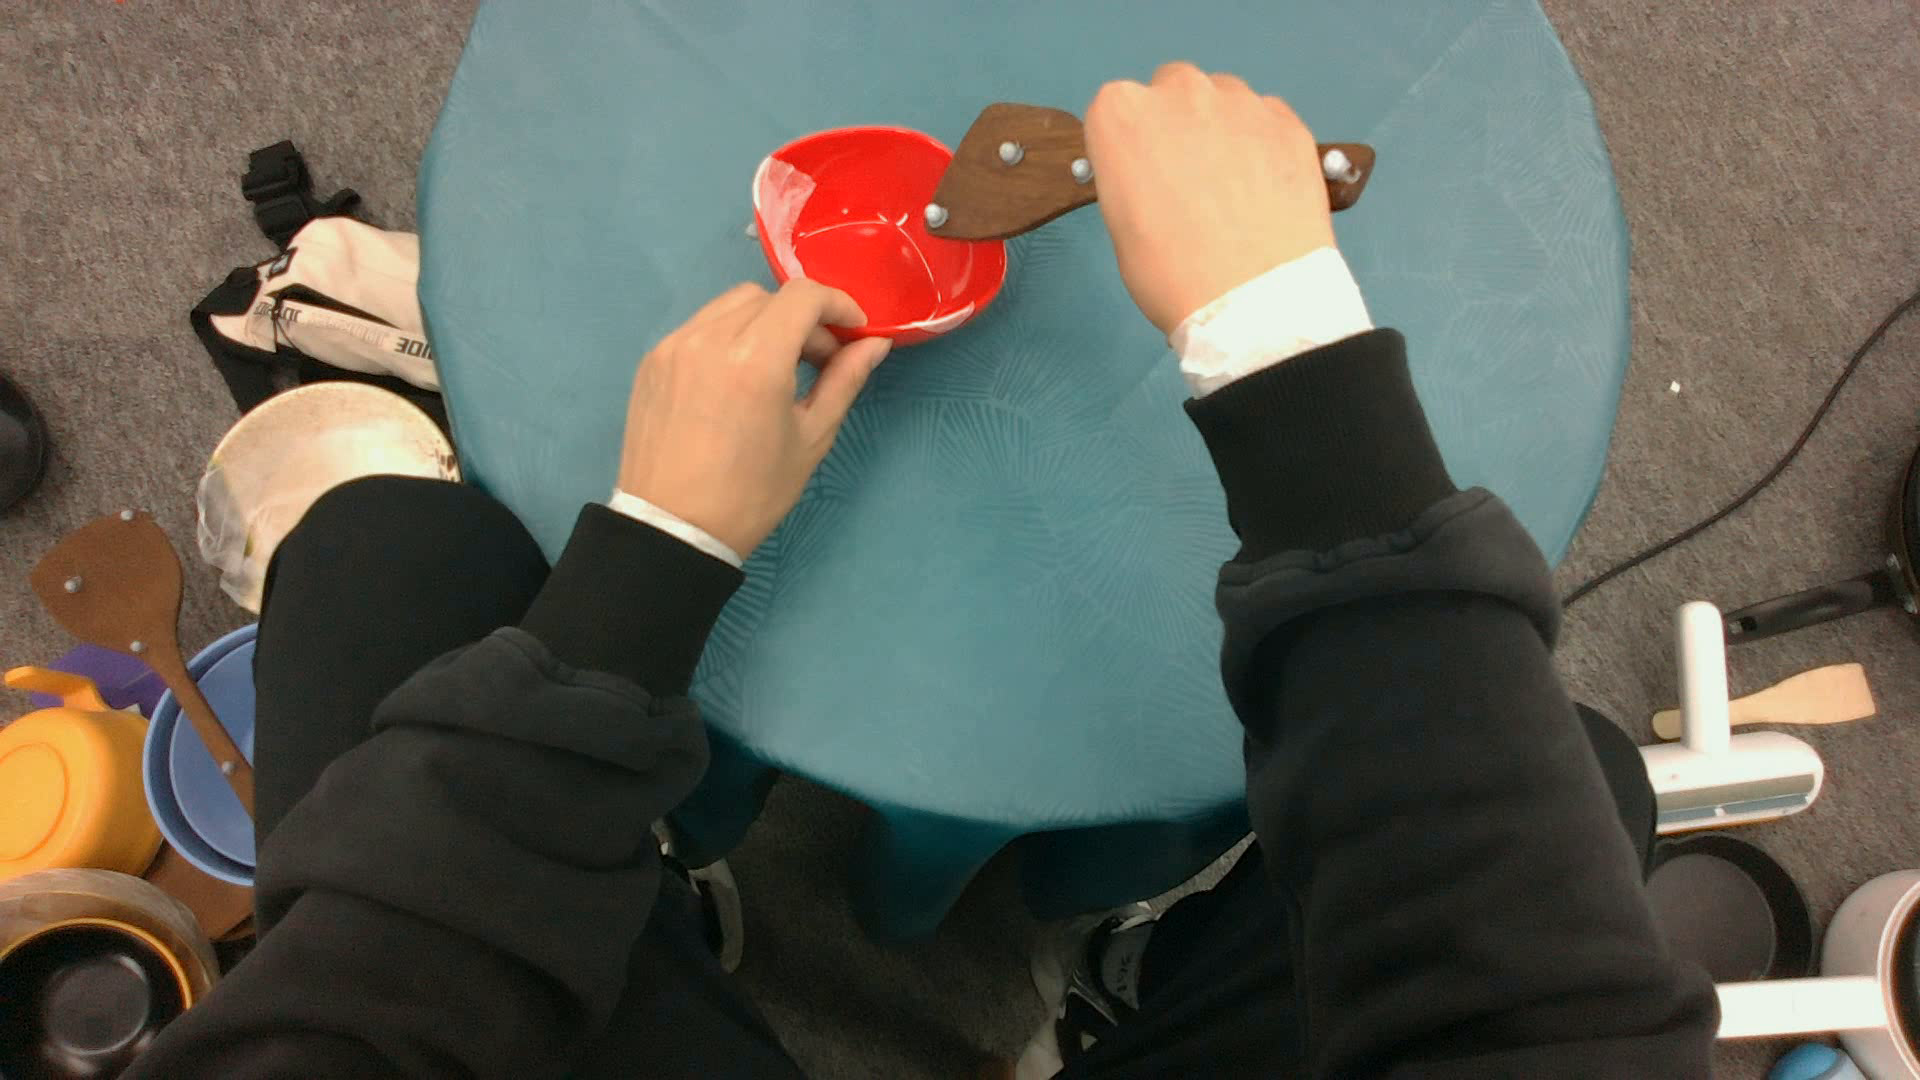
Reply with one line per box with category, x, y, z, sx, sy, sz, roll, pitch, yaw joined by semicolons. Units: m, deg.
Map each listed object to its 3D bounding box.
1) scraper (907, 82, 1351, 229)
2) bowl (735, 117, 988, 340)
scraper;0.062;-0.154;0.560;0.211;0.011;0.076;17;75;43
bowl;-0.049;-0.135;0.636;0.119;0.051;0.119;8;62;-15
